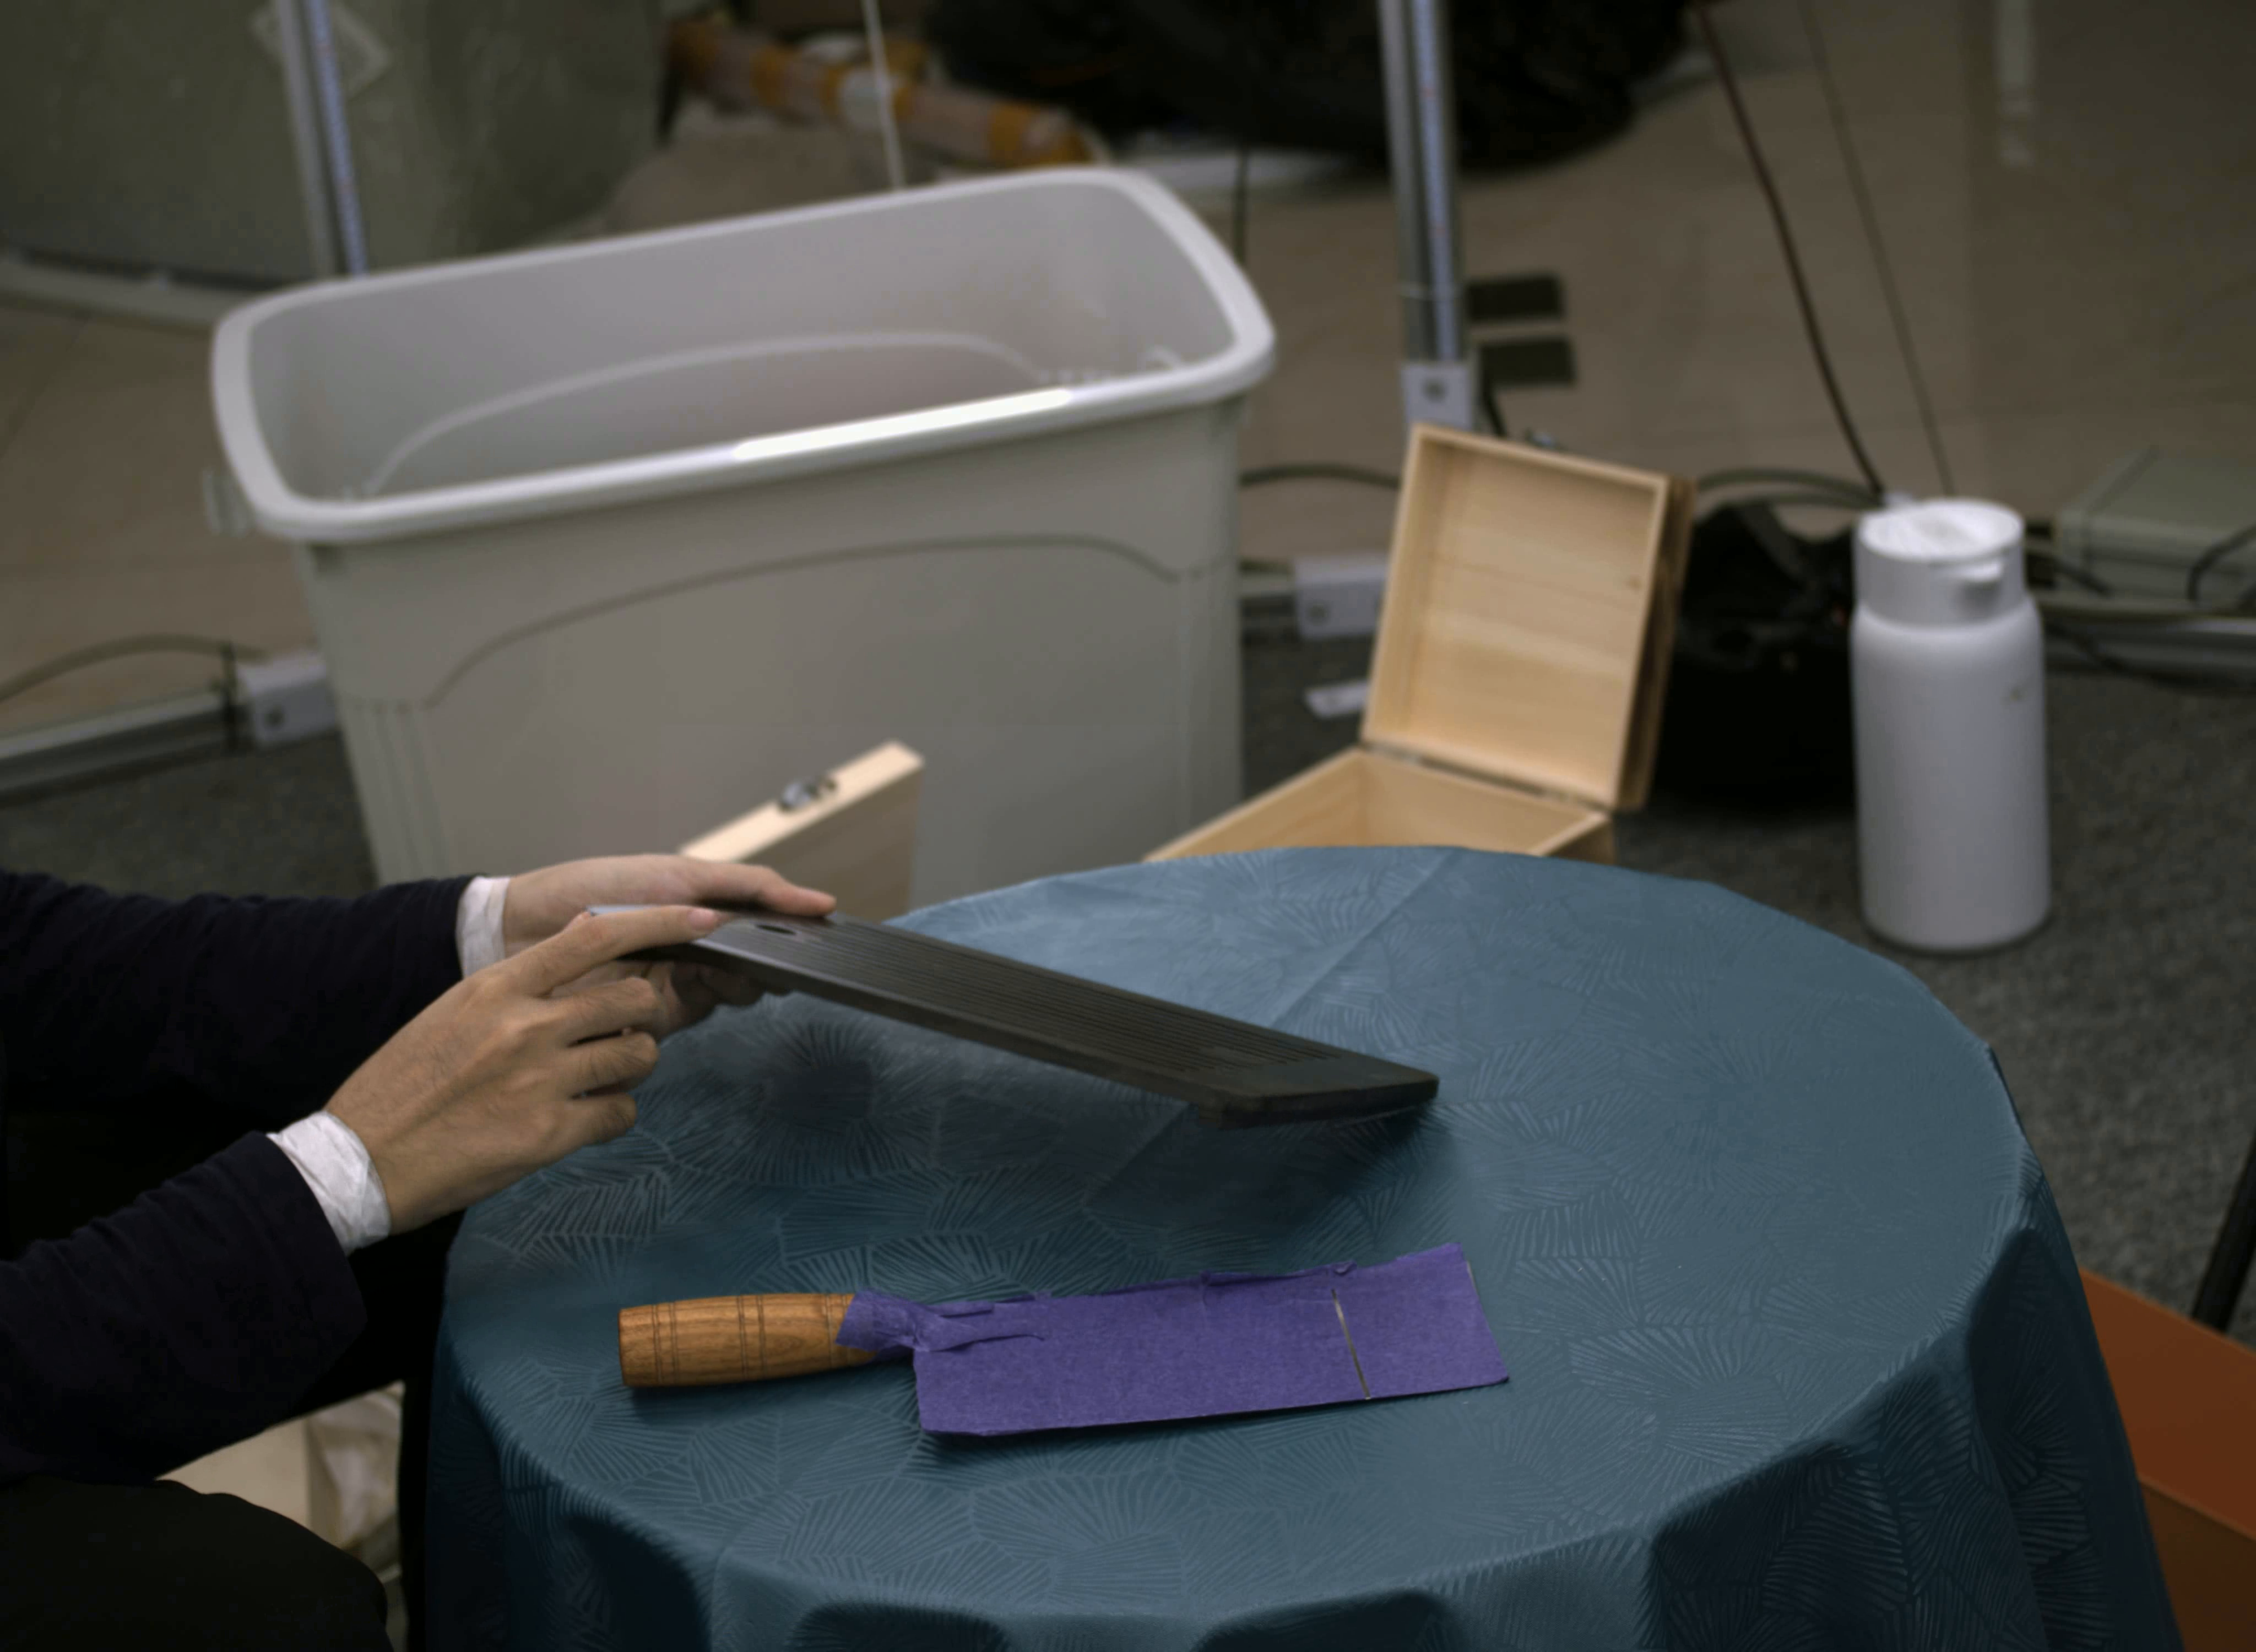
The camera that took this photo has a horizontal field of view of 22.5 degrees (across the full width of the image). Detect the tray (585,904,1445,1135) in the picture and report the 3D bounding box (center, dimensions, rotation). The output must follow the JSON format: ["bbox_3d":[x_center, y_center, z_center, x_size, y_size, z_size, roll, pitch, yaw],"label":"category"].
[{"bbox_3d":[-0.045,0.073,2.187,0.304,0.019,0.170,14,8,27],"label":"tray"}]

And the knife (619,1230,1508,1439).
[{"bbox_3d":[-0.024,0.185,2.025,0.315,0.033,0.102,-7,25,-3],"label":"knife"}]
